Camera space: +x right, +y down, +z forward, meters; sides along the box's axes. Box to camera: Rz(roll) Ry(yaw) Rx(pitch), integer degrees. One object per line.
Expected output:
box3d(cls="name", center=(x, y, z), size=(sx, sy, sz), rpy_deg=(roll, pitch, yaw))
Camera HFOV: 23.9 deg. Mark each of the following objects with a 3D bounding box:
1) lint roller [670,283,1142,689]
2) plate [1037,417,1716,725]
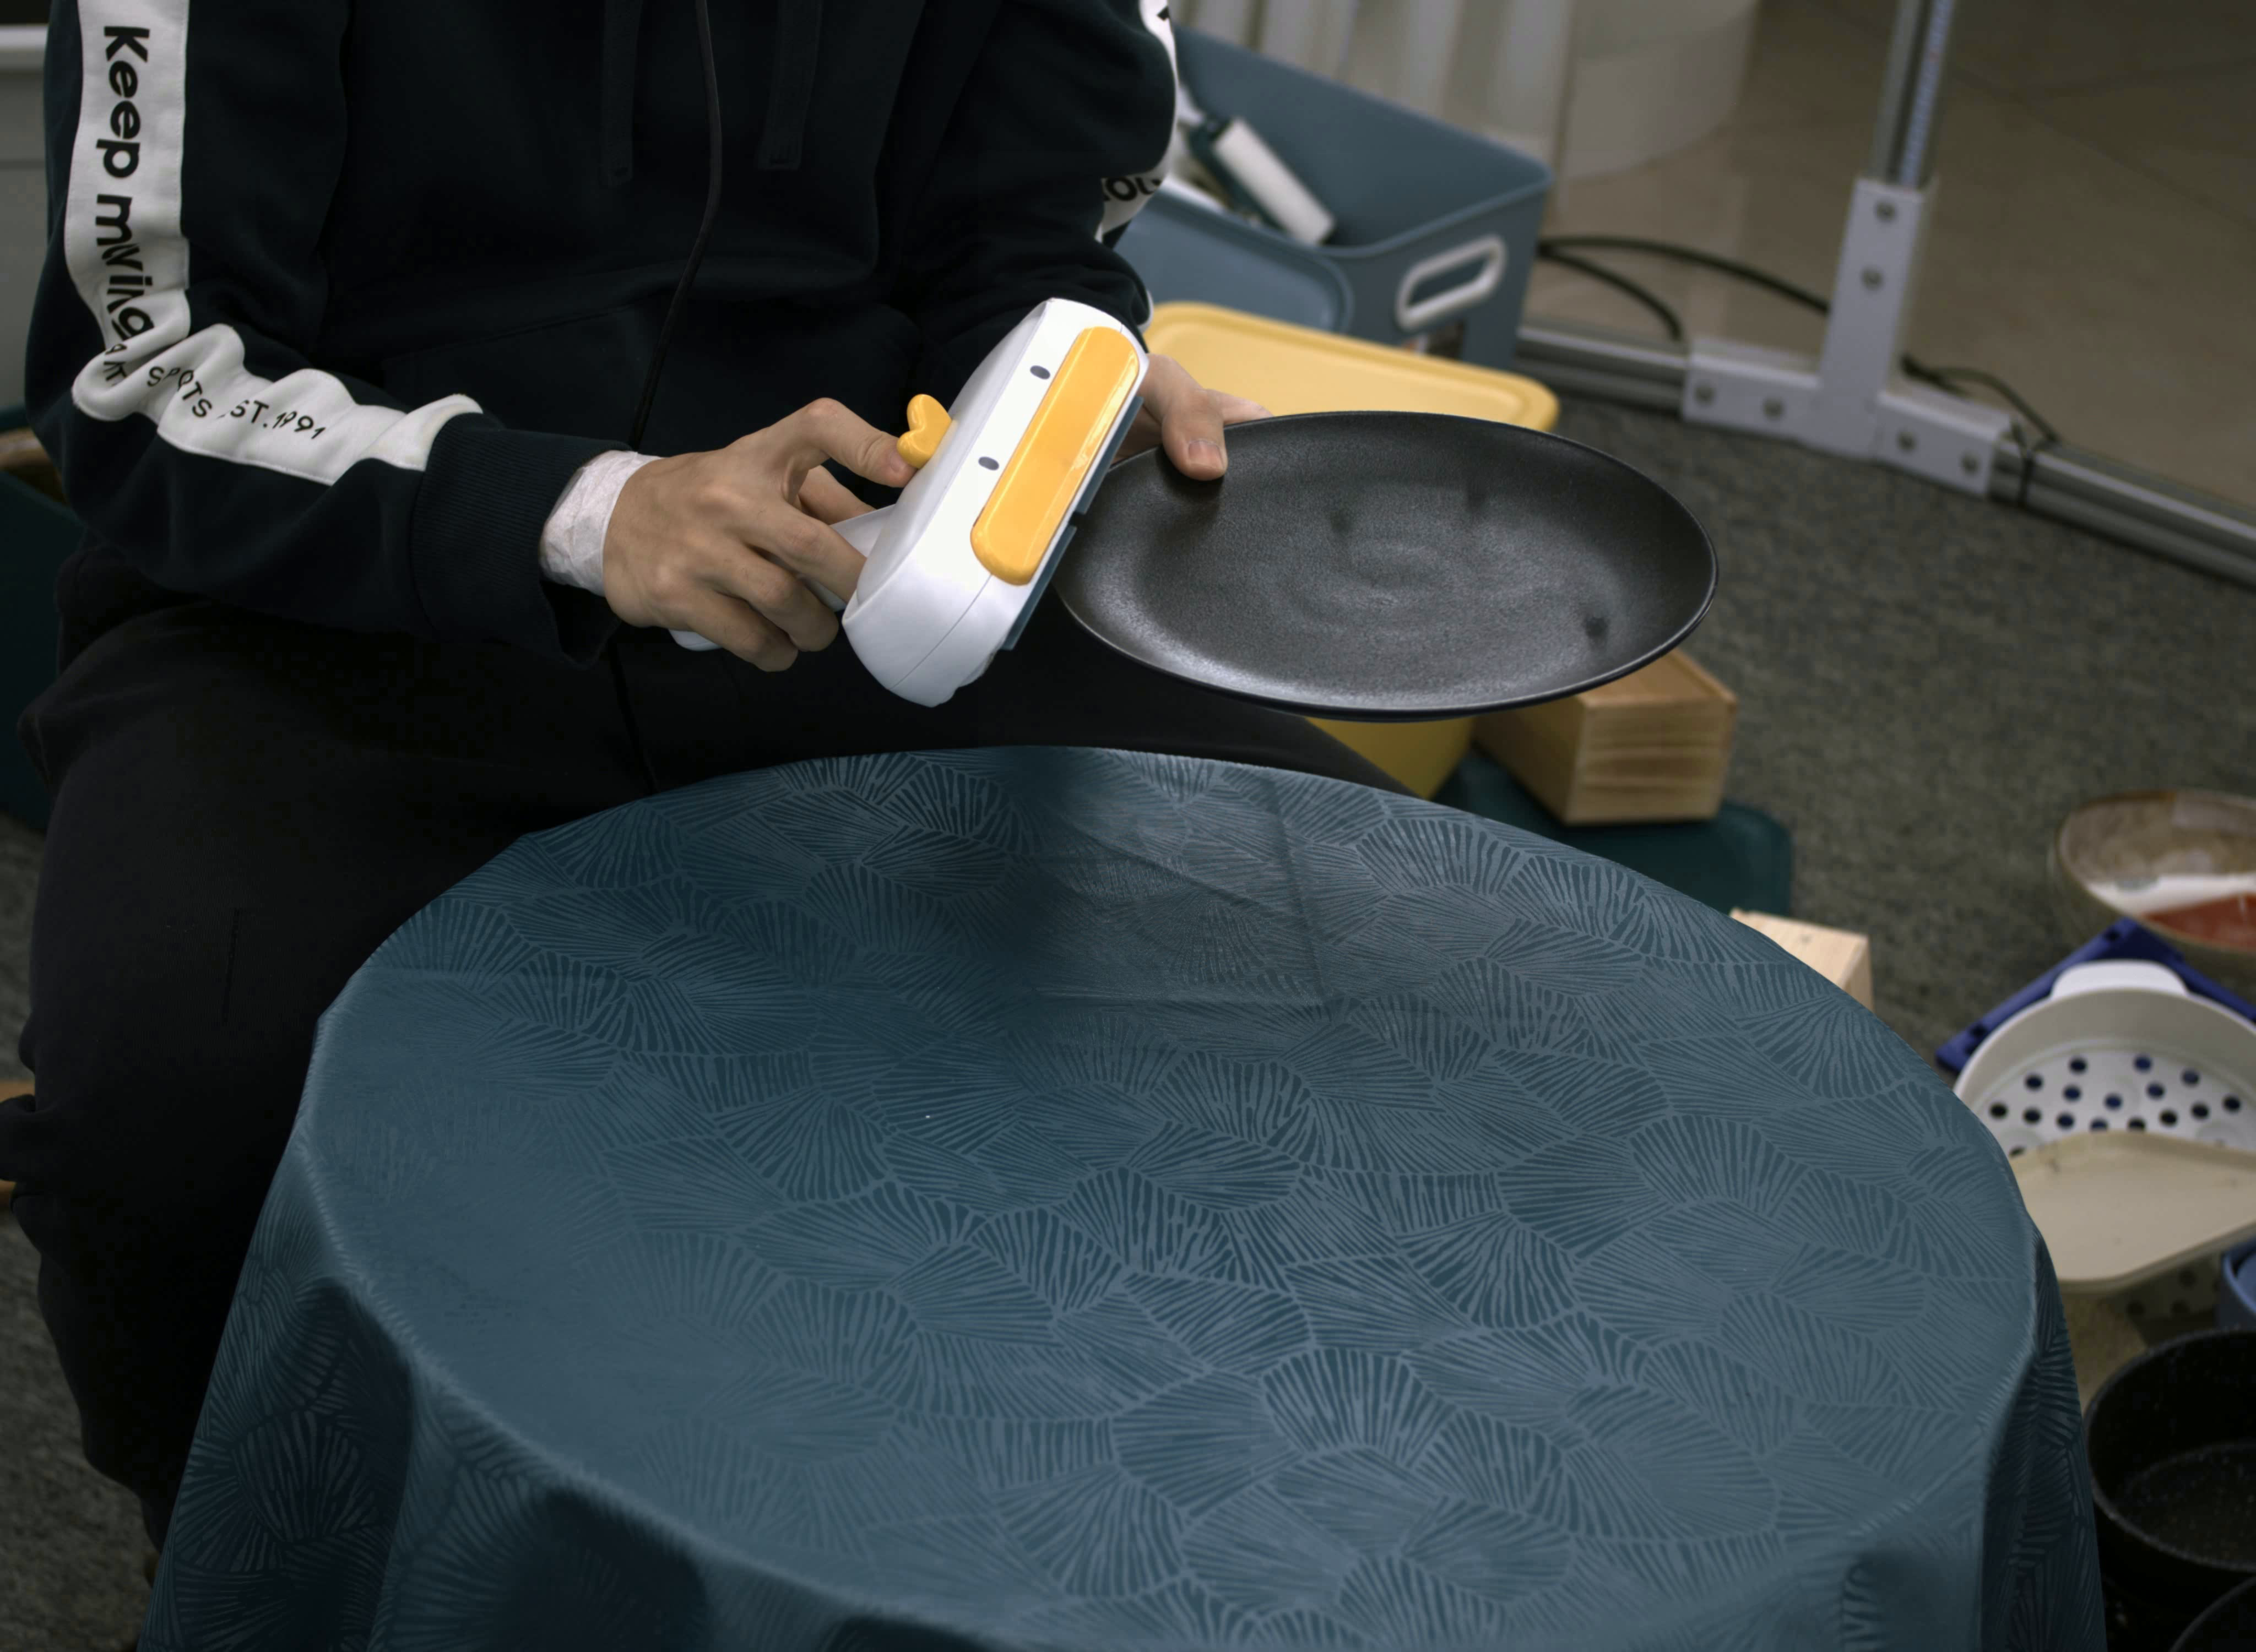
box3d(cls="lint roller", center=(-0.088, -0.100, 1.938), size=(0.074, 0.192, 0.194), rpy_deg=(40, 38, -19))
box3d(cls="plate", center=(0.088, -0.087, 1.907), size=(0.244, 0.023, 0.246), rpy_deg=(0, 28, 0))
